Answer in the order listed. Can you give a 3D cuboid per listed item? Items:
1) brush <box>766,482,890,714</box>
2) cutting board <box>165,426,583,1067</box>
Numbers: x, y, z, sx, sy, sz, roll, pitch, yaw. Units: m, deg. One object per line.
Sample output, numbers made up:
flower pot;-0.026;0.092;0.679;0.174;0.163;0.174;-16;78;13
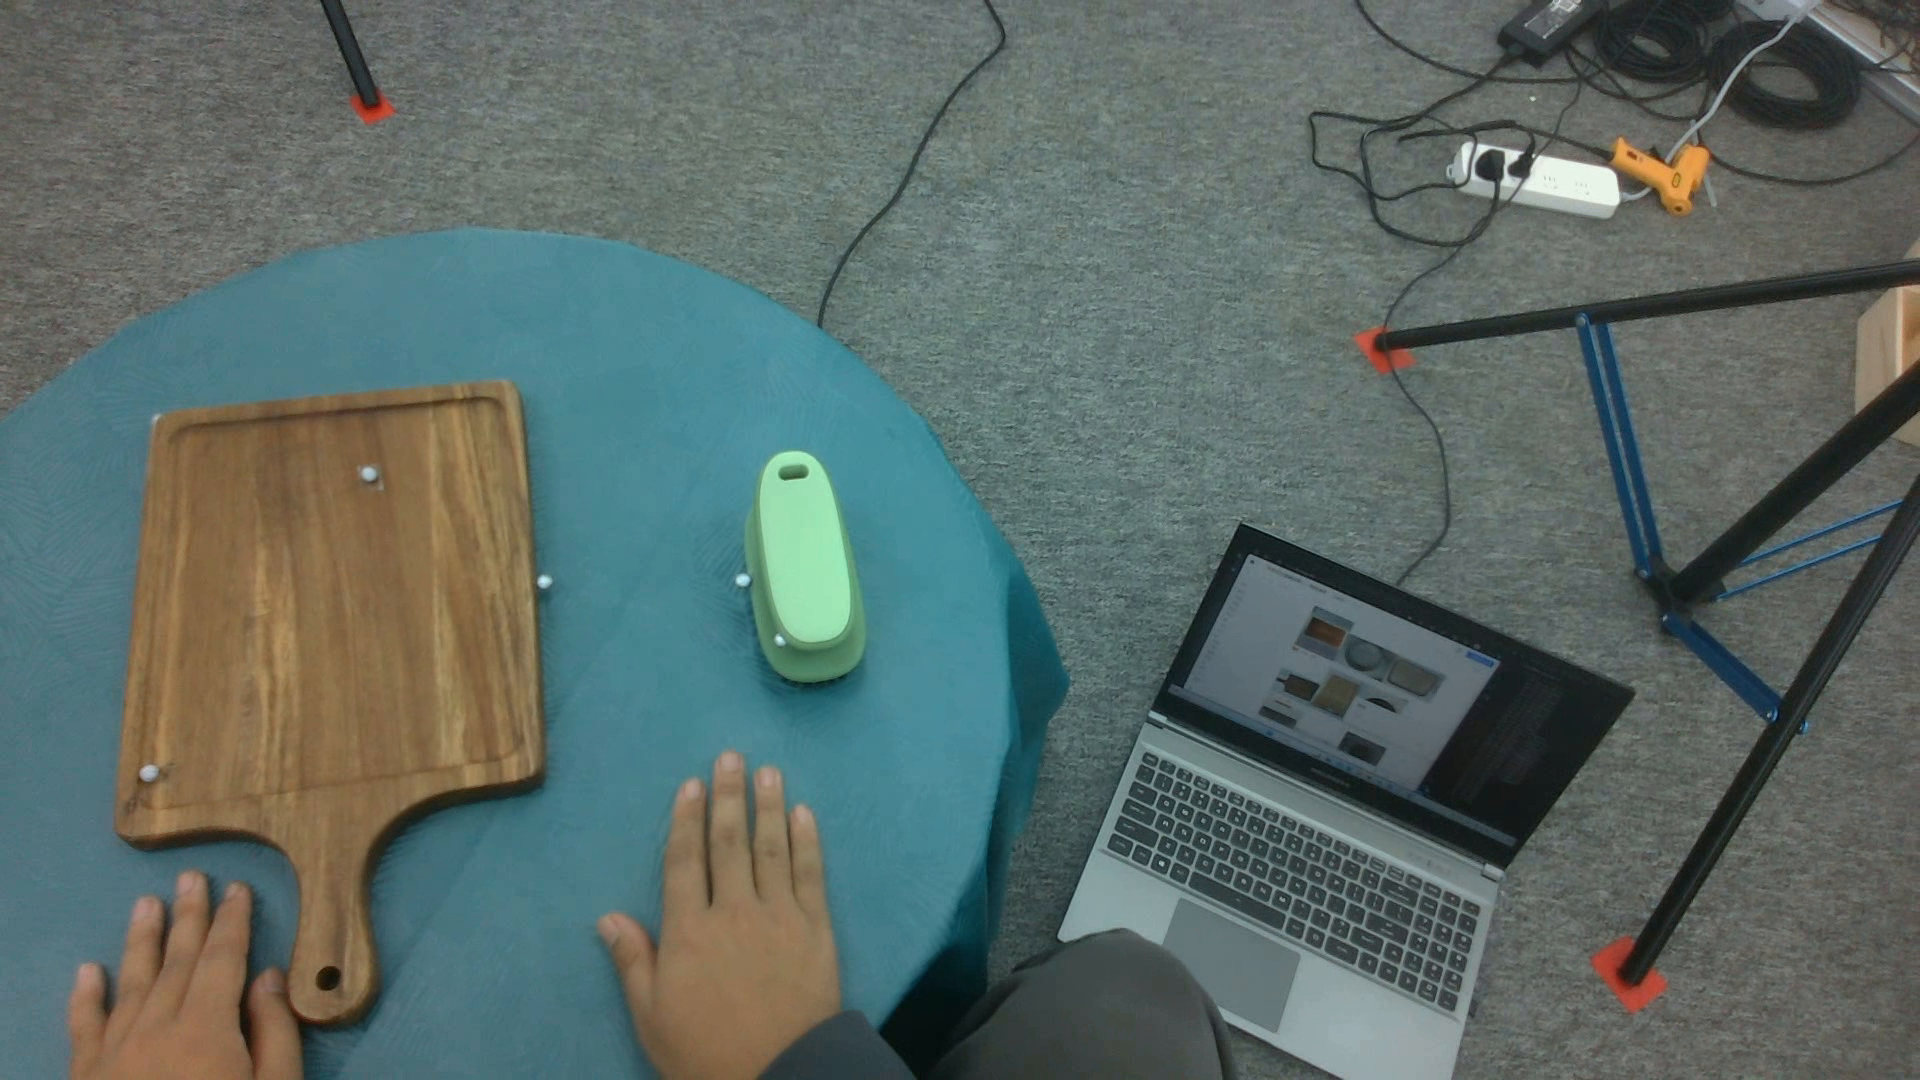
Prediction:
brush;-0.075;0.036;0.768;0.060;0.075;0.123;-11;74;-11
cutting board;-0.308;0.096;0.727;0.201;0.023;0.353;-9;60;-10
